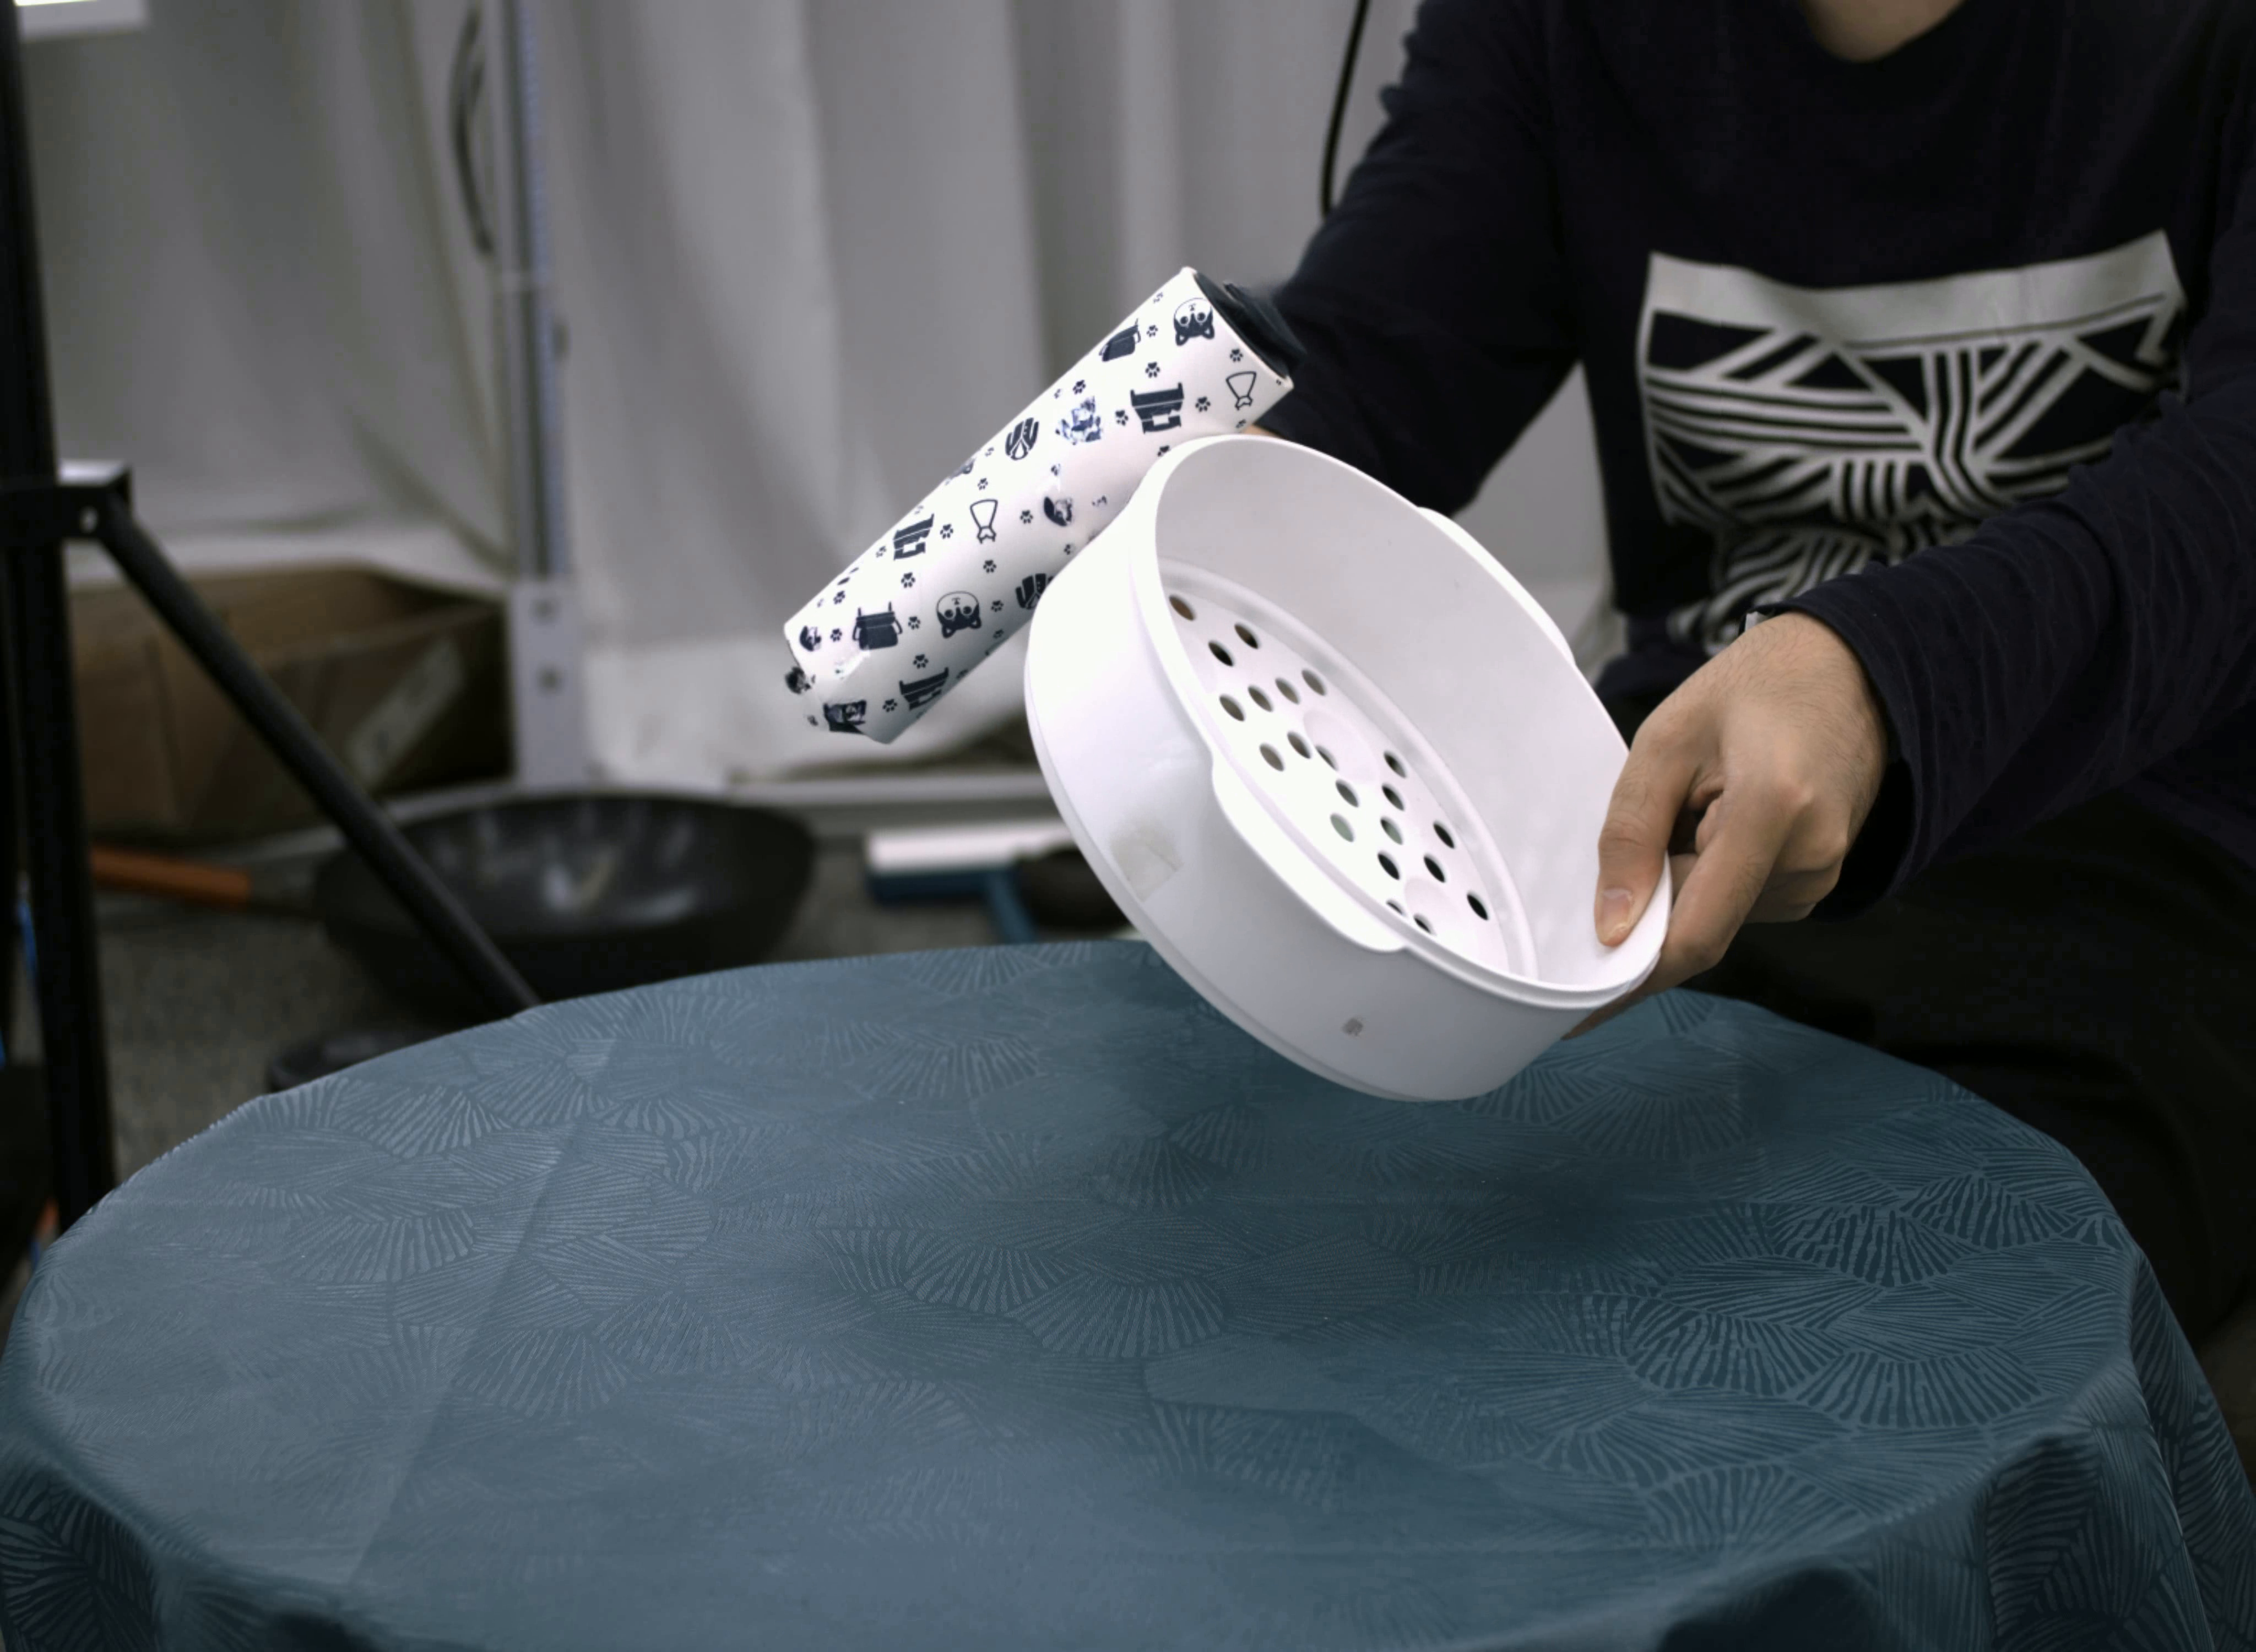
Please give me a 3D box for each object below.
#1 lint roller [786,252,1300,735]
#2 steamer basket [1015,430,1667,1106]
[{"bbox_3d":[-0.004,-0.091,1.641,0.177,0.051,0.244,-42,-10,9],"label":"lint roller"},{"bbox_3d":[0.059,-0.014,1.497,0.070,0.201,0.228,-44,3,30],"label":"steamer basket"}]
